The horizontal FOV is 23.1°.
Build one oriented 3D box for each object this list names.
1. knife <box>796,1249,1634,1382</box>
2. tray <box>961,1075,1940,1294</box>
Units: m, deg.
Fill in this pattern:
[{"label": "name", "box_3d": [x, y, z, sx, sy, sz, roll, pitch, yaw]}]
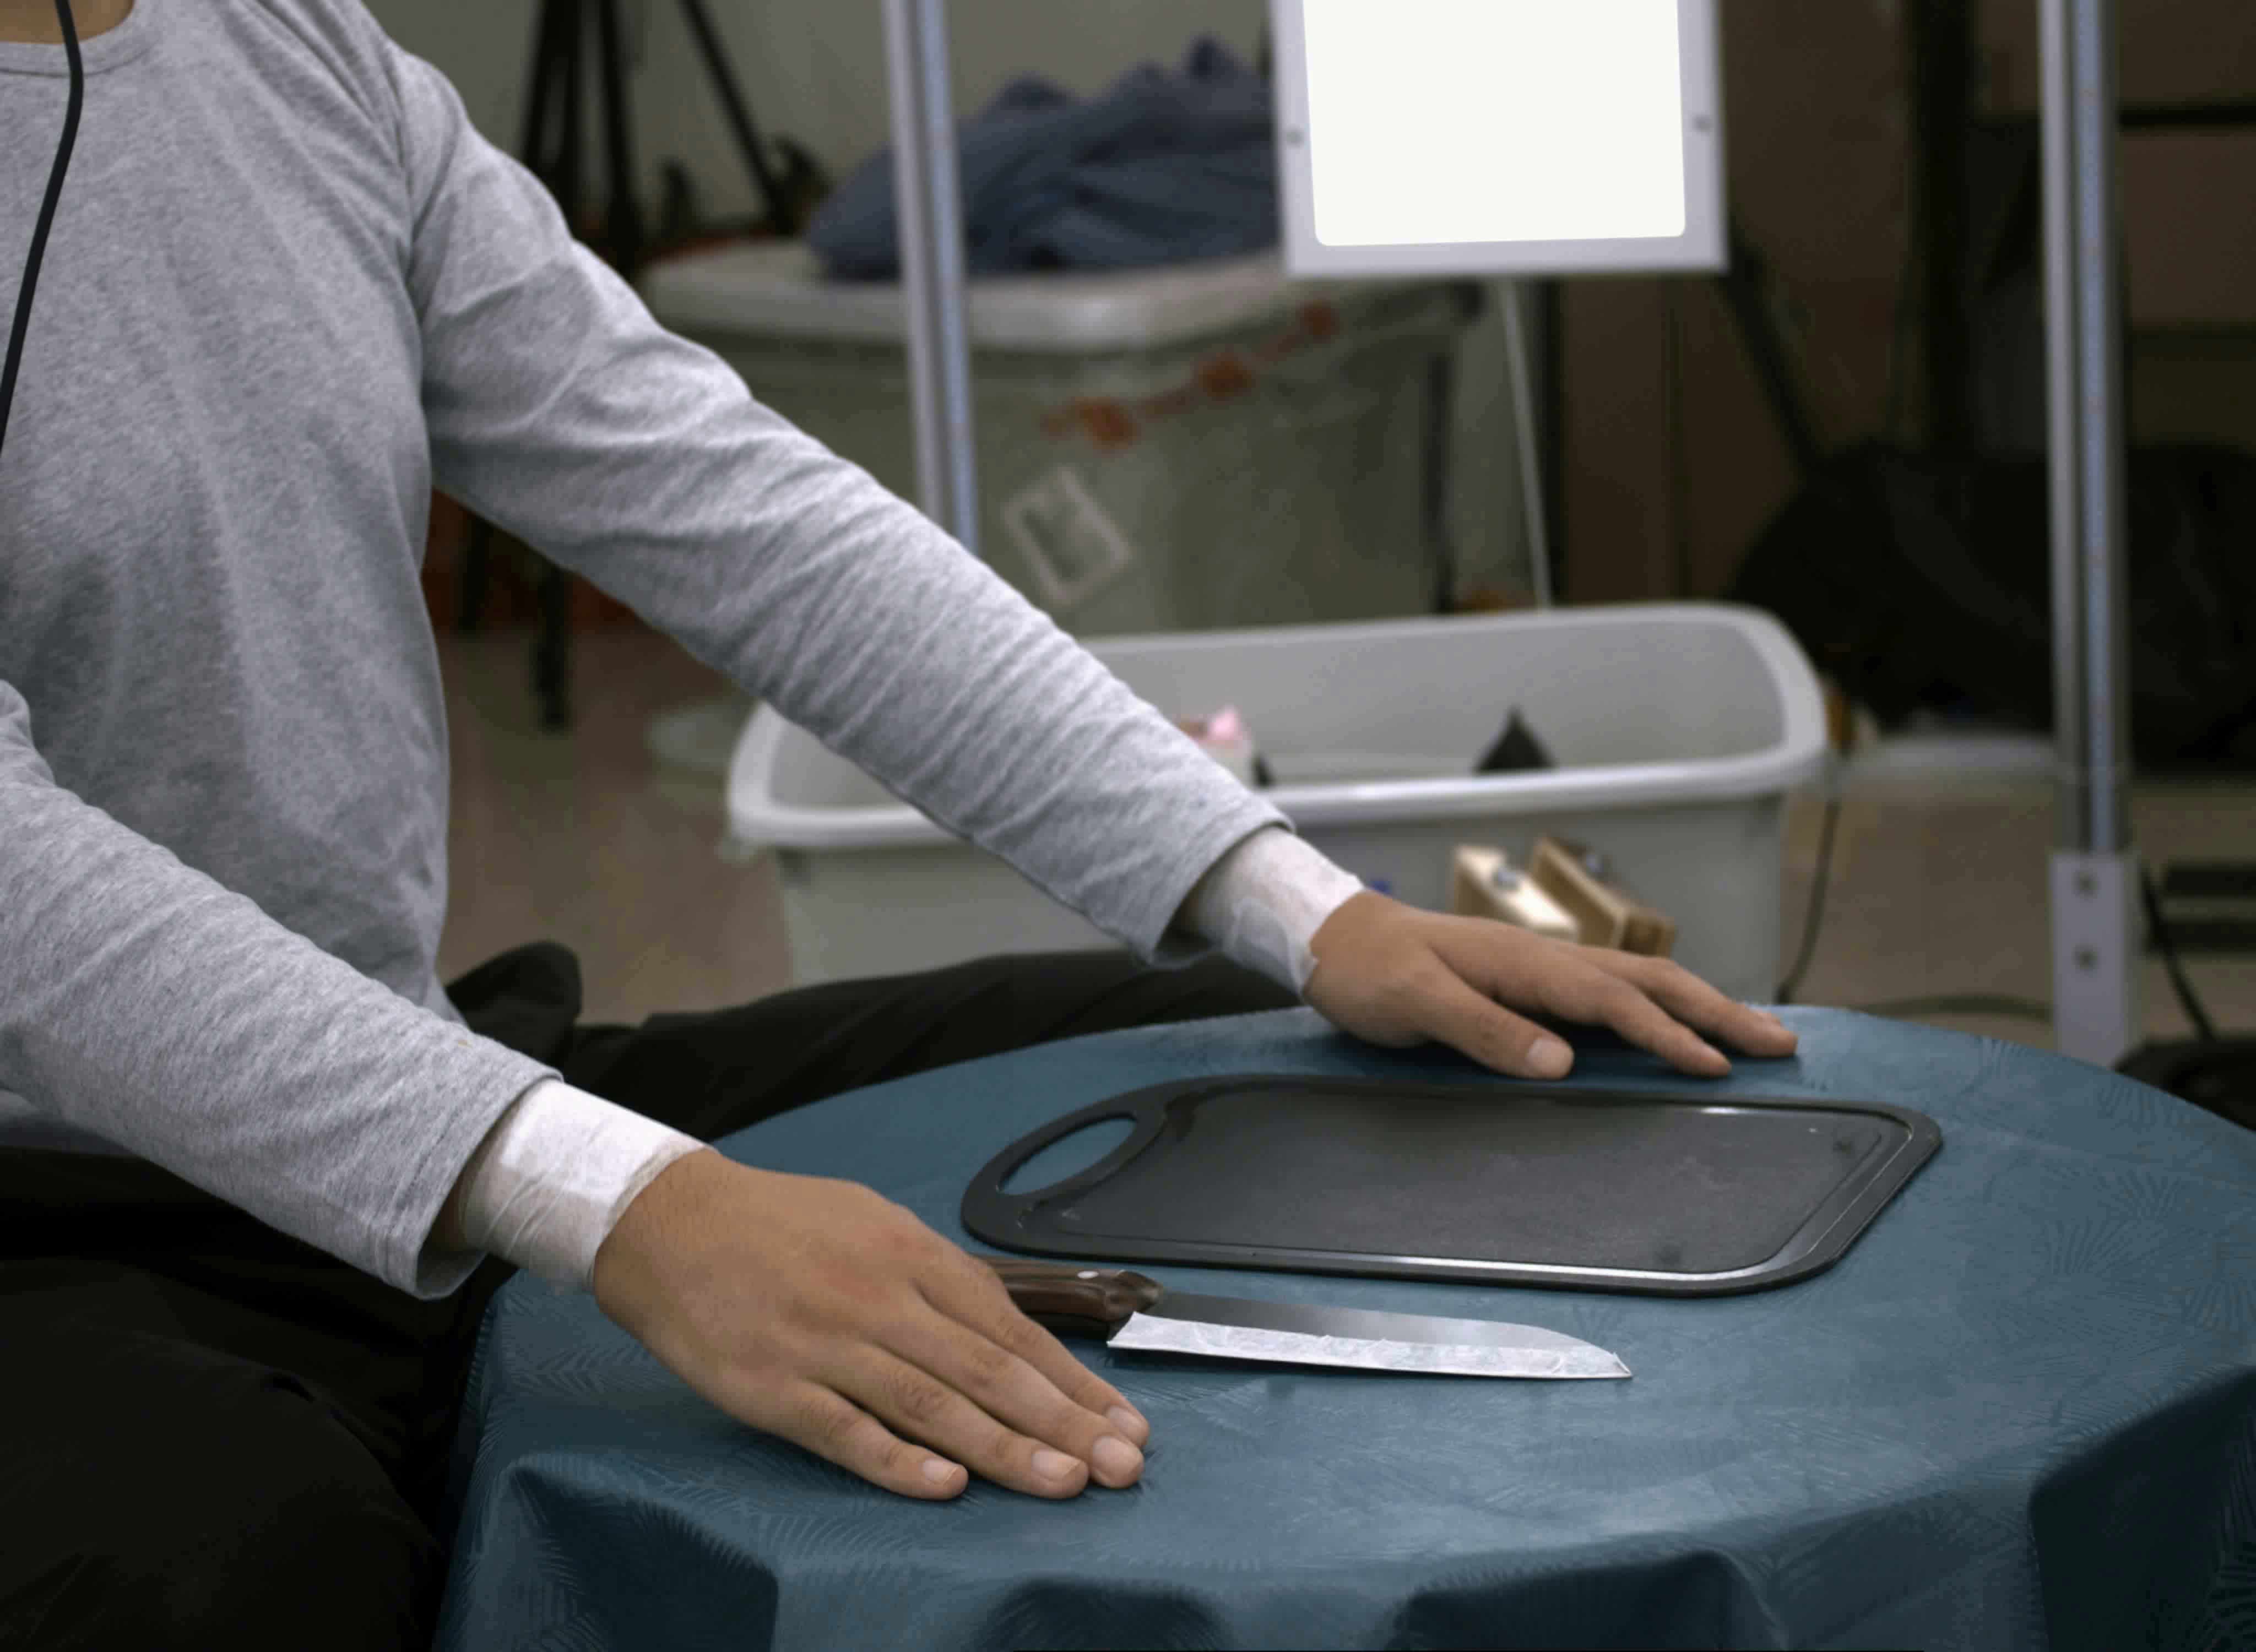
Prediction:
[{"label": "knife", "box_3d": [0.023, 0.157, 1.740, 0.293, 0.020, 0.049, 4, 21, 24]}, {"label": "tray", "box_3d": [0.105, 0.119, 1.885, 0.331, 0.010, 0.207, 1, 15, 26]}]
